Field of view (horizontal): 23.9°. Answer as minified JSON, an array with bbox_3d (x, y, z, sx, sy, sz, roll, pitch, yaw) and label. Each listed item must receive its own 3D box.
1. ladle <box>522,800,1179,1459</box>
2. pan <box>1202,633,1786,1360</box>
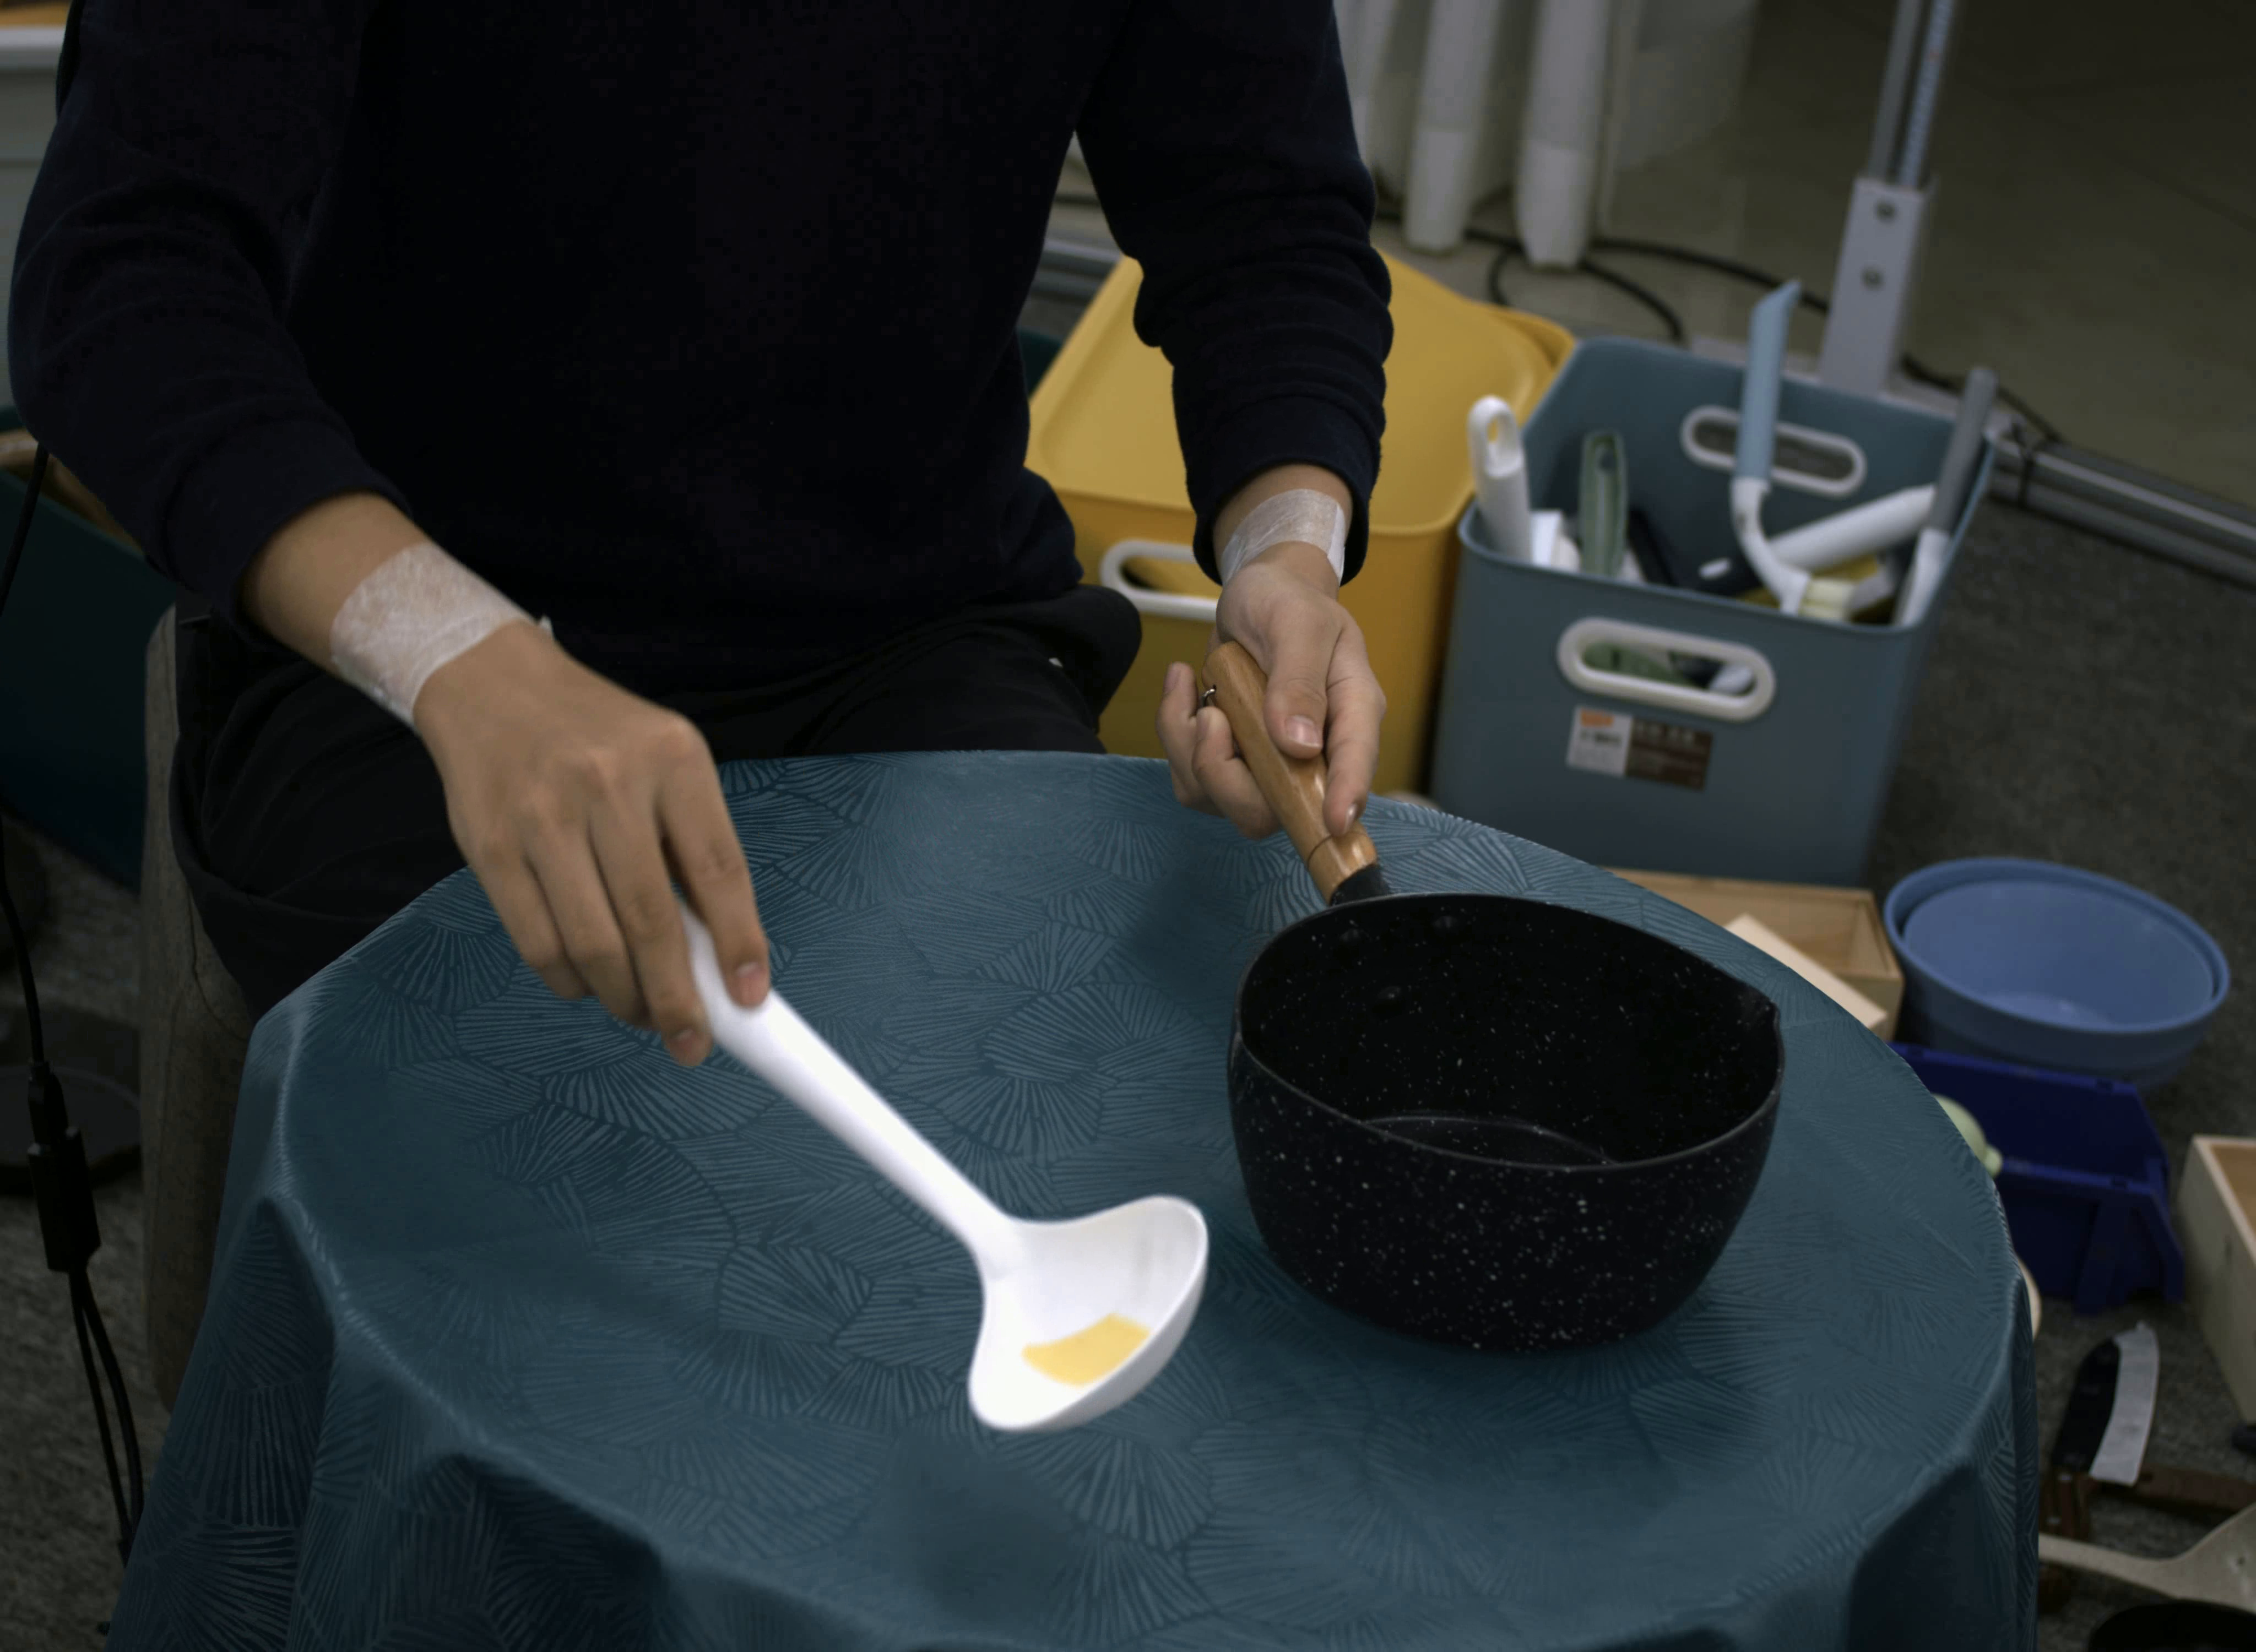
[{"bbox_3d":[-0.093,0.085,1.642,0.295,0.090,0.069,42,0,27],"label":"ladle"},{"bbox_3d":[0.093,0.056,1.838,0.206,0.108,0.346,-6,31,-22],"label":"pan"}]
